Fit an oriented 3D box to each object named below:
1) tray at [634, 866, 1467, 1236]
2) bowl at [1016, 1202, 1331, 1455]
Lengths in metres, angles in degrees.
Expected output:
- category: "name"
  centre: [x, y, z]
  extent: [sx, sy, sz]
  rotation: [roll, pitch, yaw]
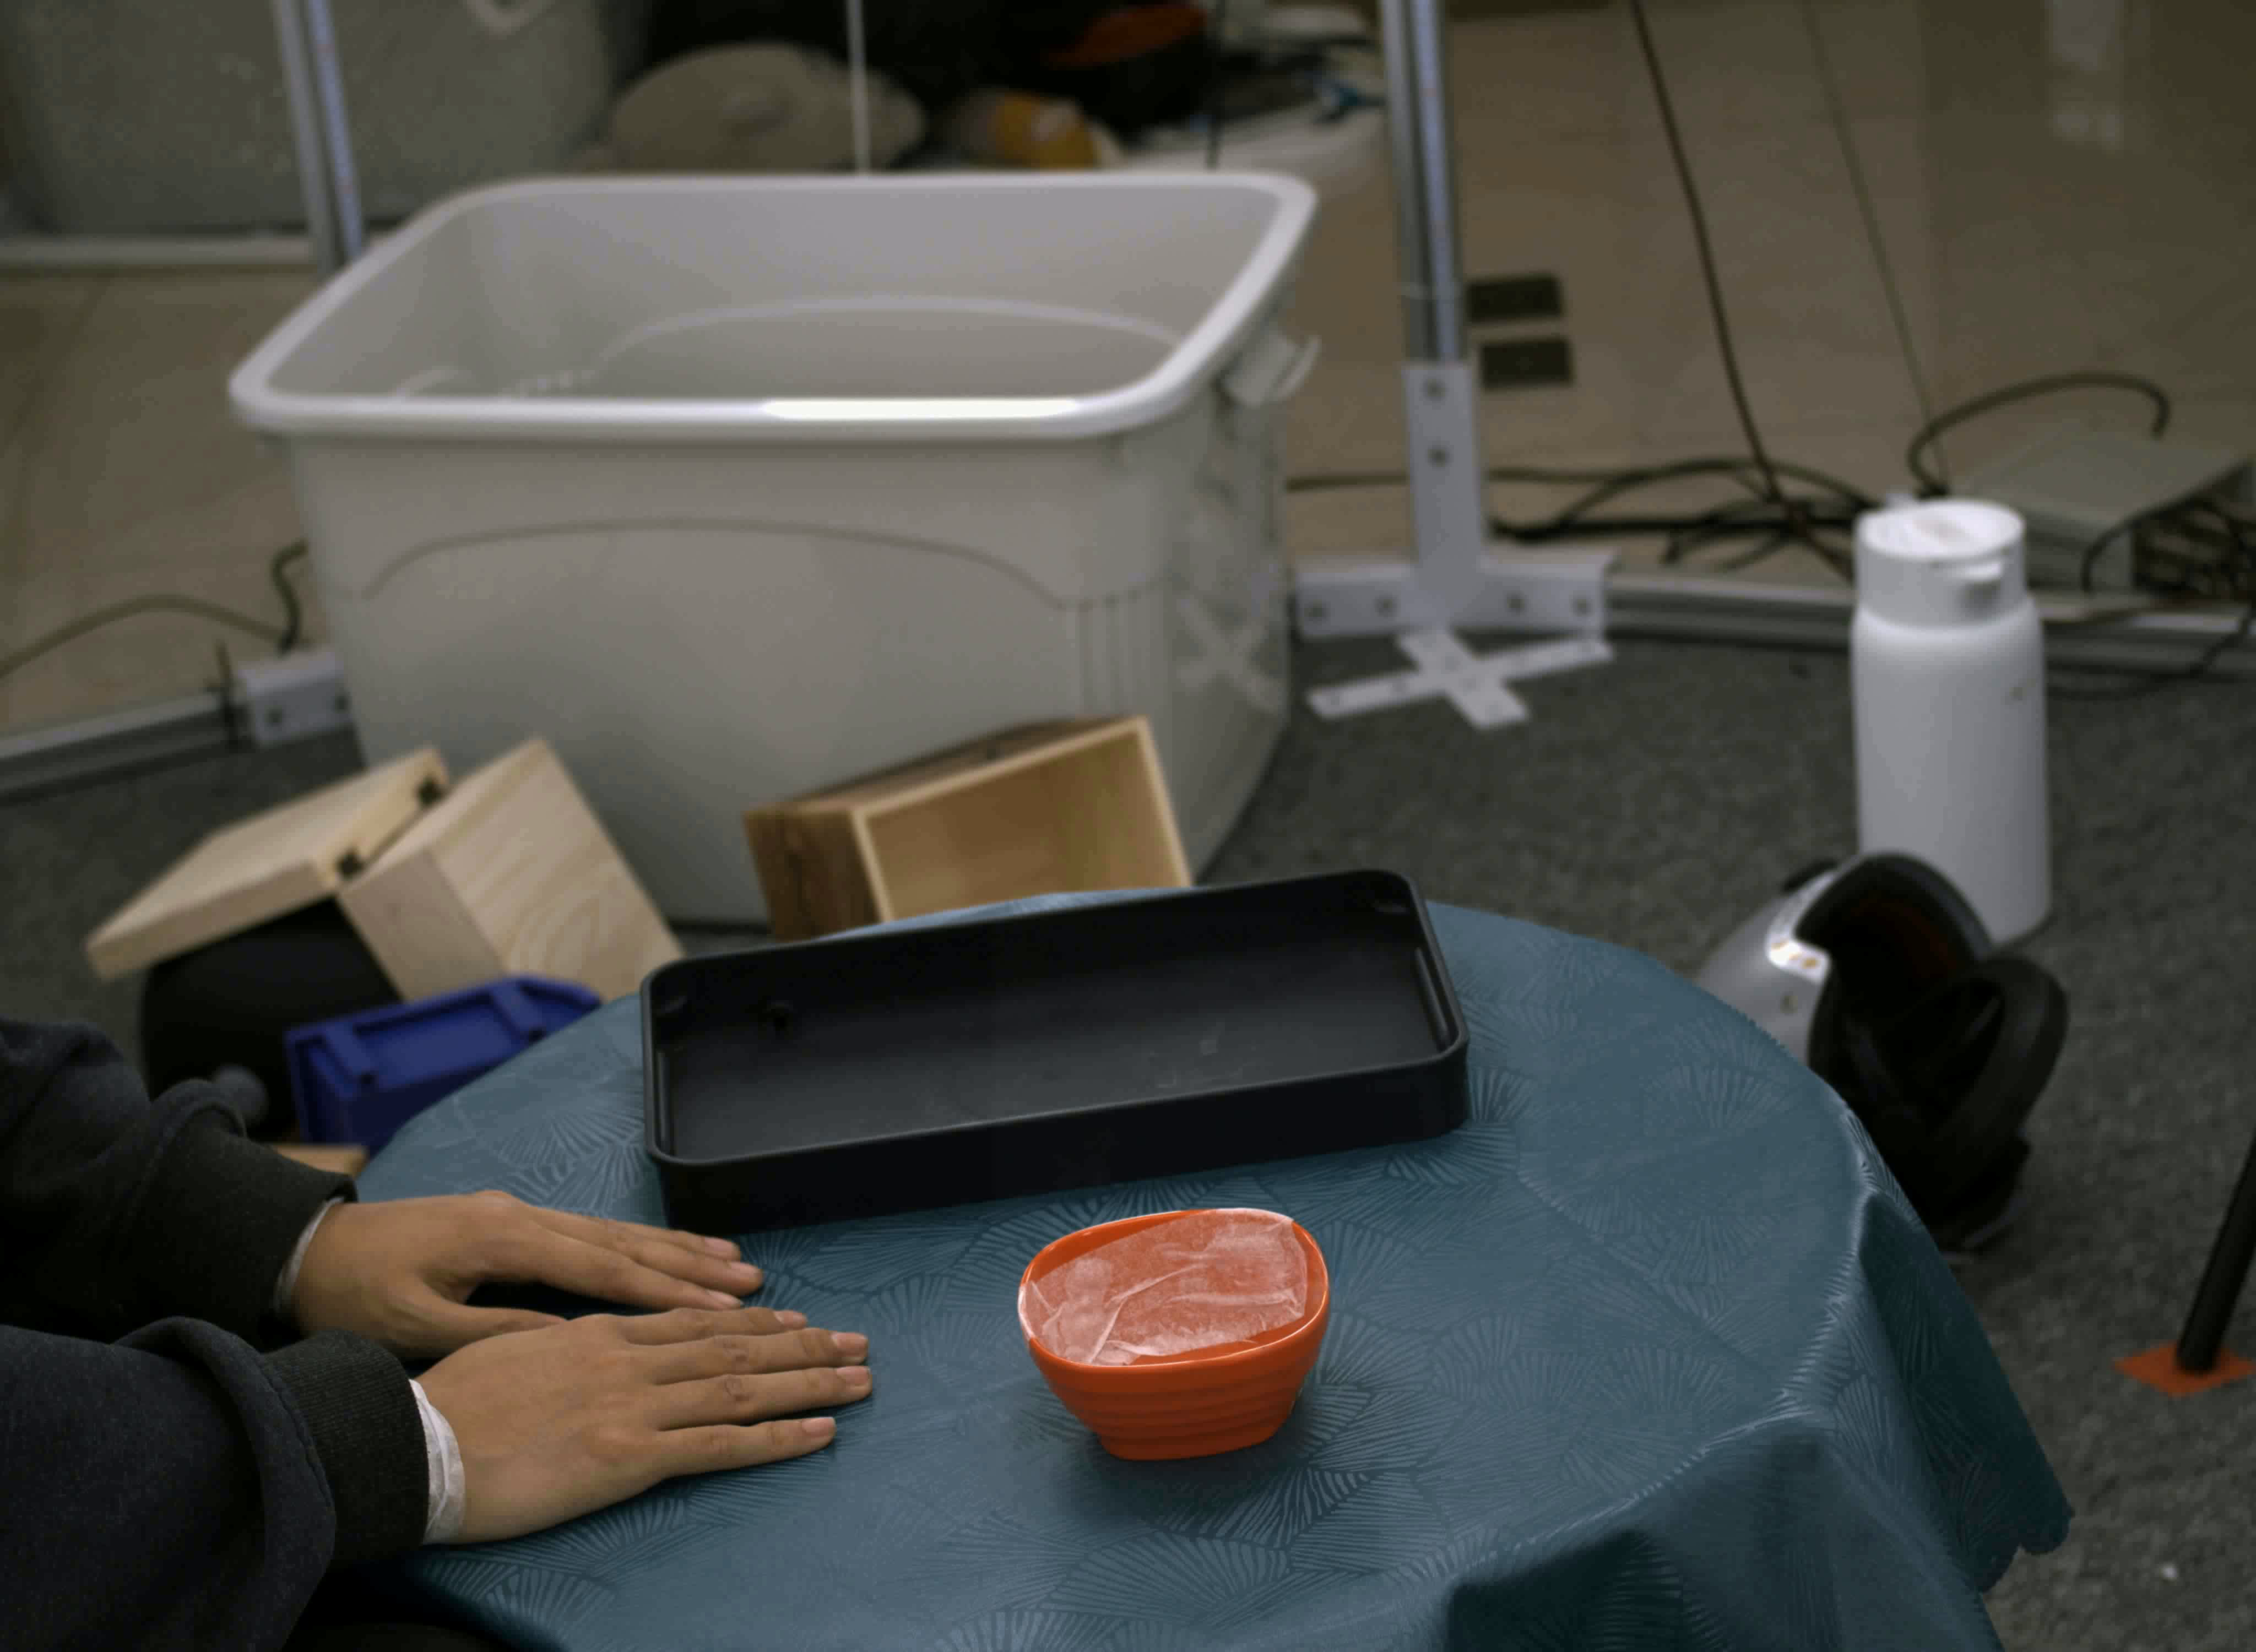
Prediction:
- category: "tray"
  centre: [-0.033, 0.086, 2.224]
  extent: [0.317, 0.037, 0.181]
  rotation: [-7, 25, -3]
- category: "bowl"
  centre: [0.017, 0.181, 1.987]
  extent: [0.119, 0.052, 0.117]
  rotation: [-4, 26, 2]
